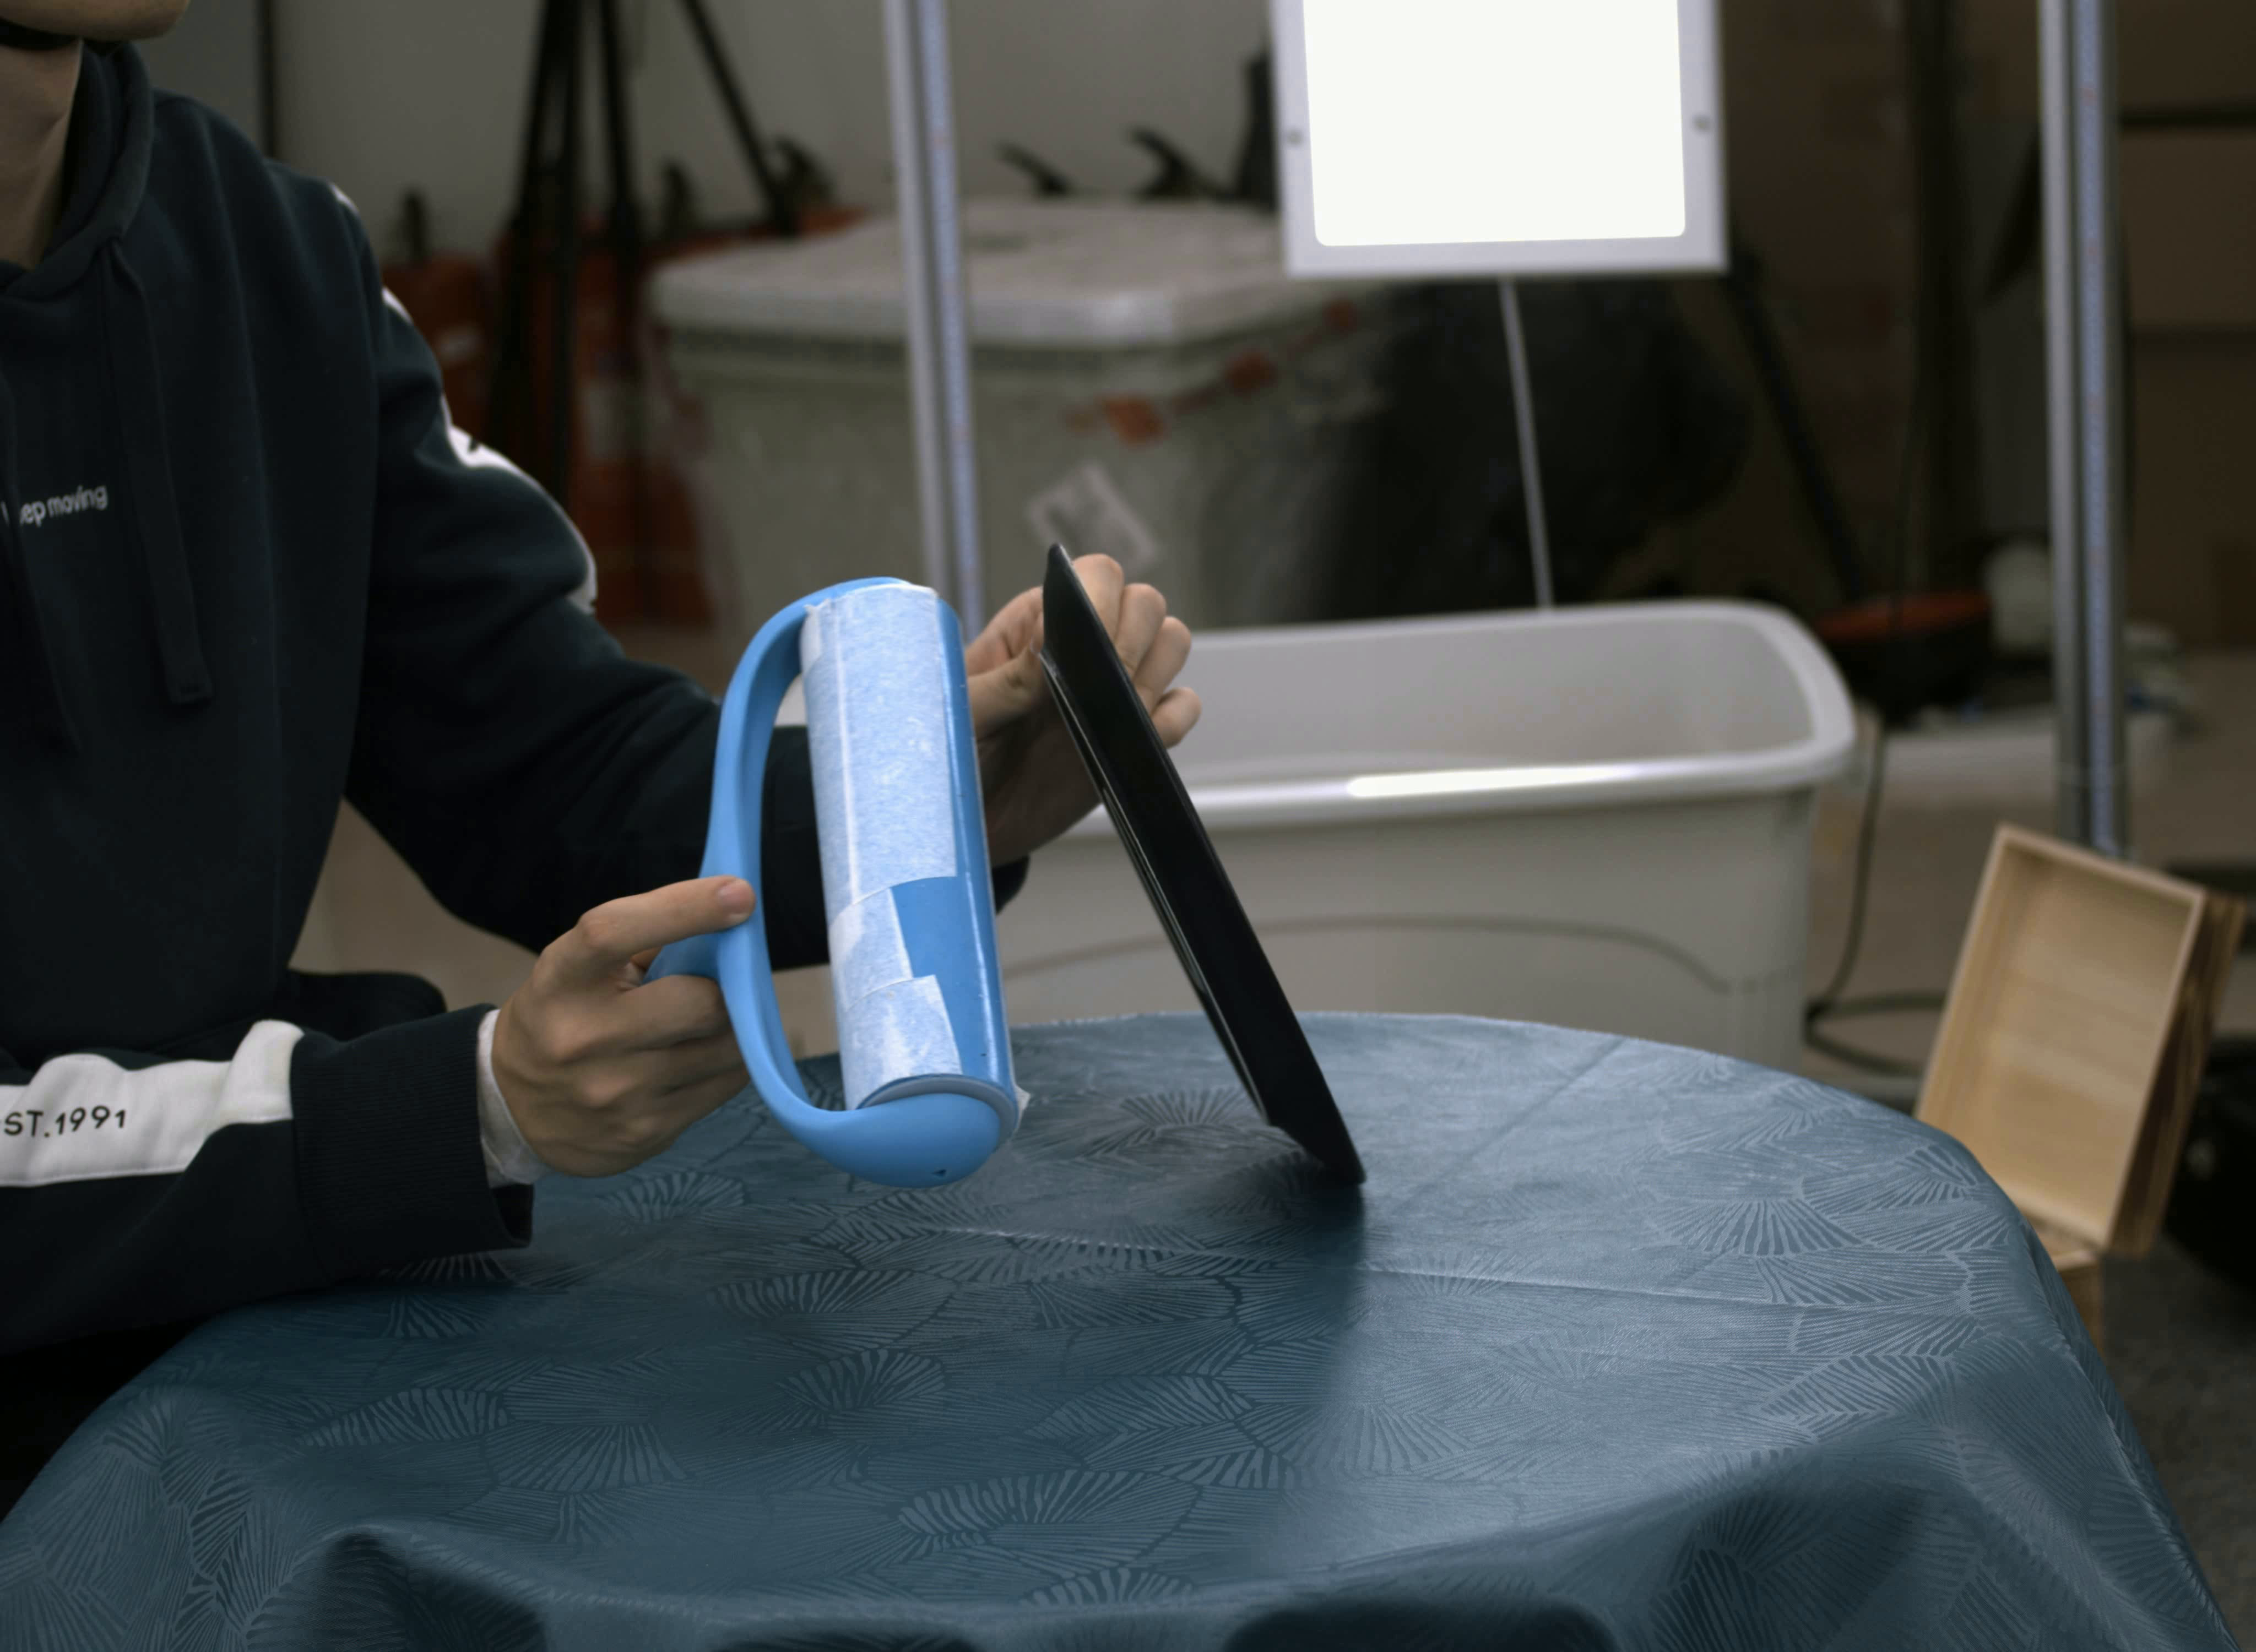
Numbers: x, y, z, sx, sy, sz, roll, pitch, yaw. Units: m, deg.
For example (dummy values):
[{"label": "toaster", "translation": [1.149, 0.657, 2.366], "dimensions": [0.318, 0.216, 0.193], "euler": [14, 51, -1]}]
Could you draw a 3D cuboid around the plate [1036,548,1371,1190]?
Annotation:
[{"label": "plate", "translation": [0.019, 0.018, 1.869], "dimensions": [0.023, 0.244, 0.245], "euler": [-27, 15, -2]}]

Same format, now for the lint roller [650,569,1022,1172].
[{"label": "lint roller", "translation": [-0.112, 0.042, 1.777], "dimensions": [0.066, 0.229, 0.183], "euler": [24, -49, -37]}]
